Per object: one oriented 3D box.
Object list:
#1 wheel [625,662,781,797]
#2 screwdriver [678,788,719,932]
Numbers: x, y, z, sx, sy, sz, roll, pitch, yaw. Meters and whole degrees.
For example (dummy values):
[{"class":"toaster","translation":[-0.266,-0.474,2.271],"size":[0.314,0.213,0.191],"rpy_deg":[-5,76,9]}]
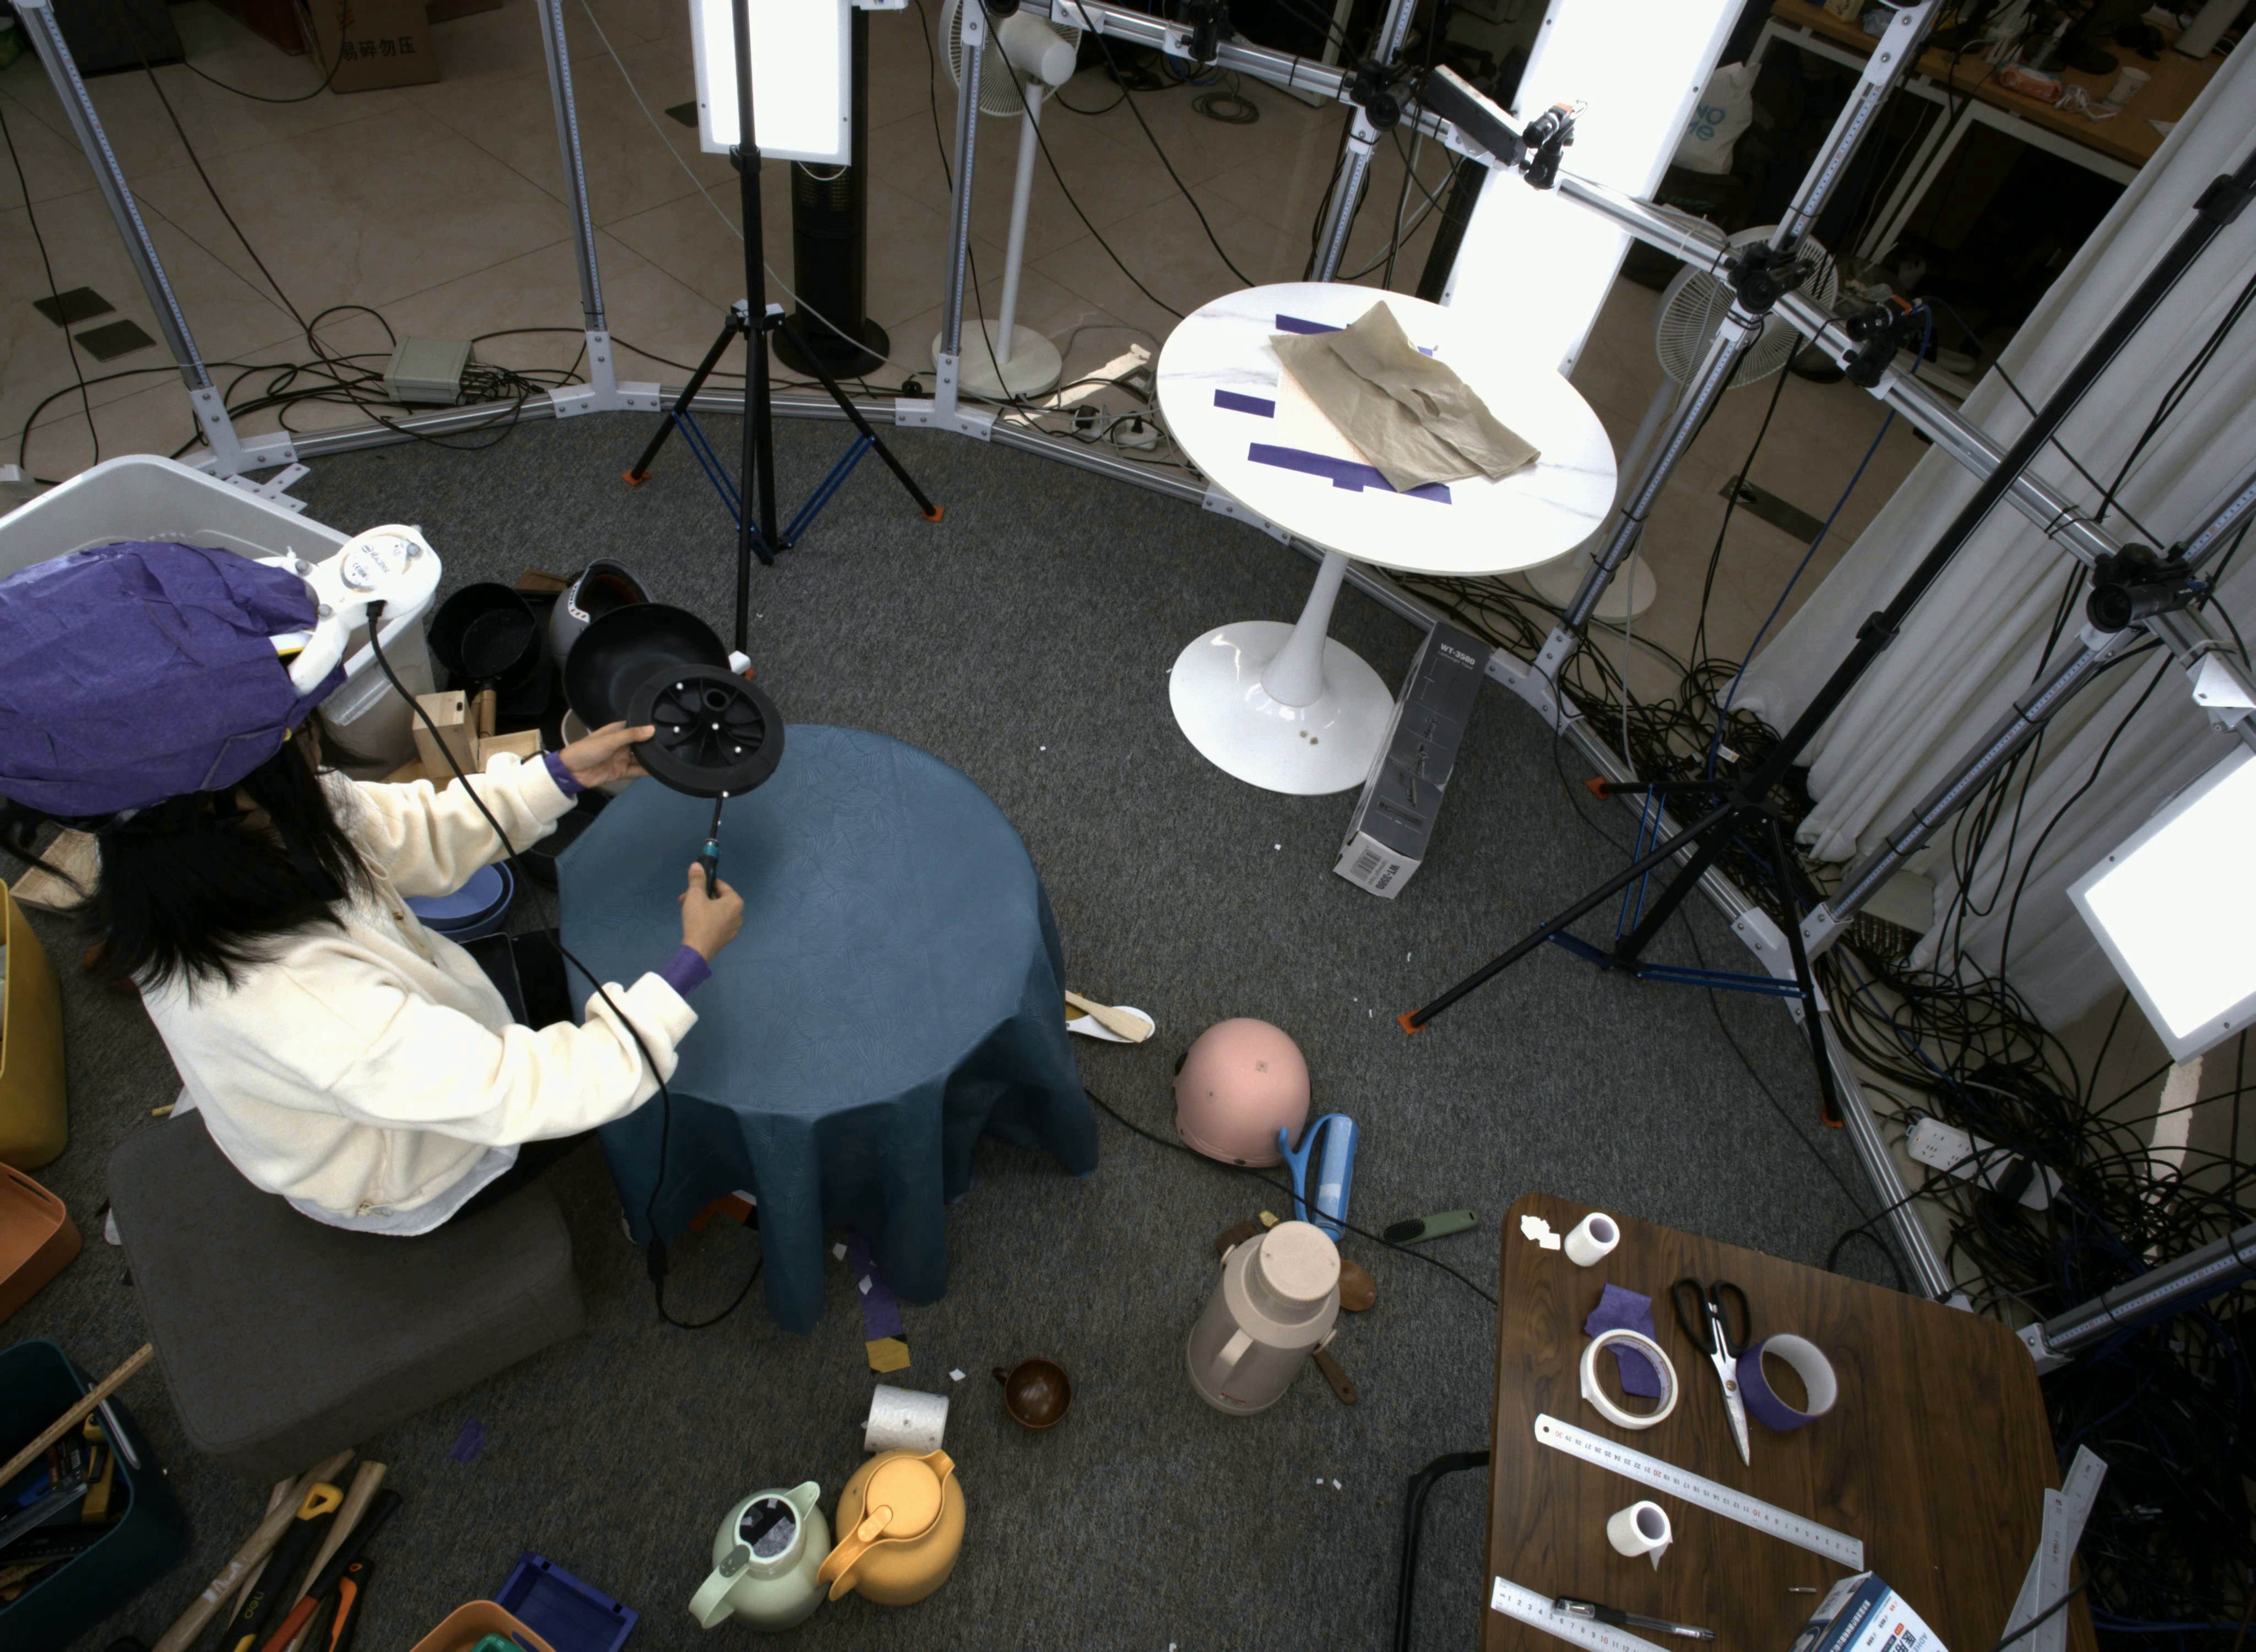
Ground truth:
[{"class":"wheel","translation":[-0.505,-0.131,1.543],"size":[0.192,0.079,0.185],"rpy_deg":[-16,69,-40]},{"class":"screwdriver","translation":[-0.482,0.032,1.461],"size":[0.033,0.034,0.186],"rpy_deg":[5,55,-10]}]
